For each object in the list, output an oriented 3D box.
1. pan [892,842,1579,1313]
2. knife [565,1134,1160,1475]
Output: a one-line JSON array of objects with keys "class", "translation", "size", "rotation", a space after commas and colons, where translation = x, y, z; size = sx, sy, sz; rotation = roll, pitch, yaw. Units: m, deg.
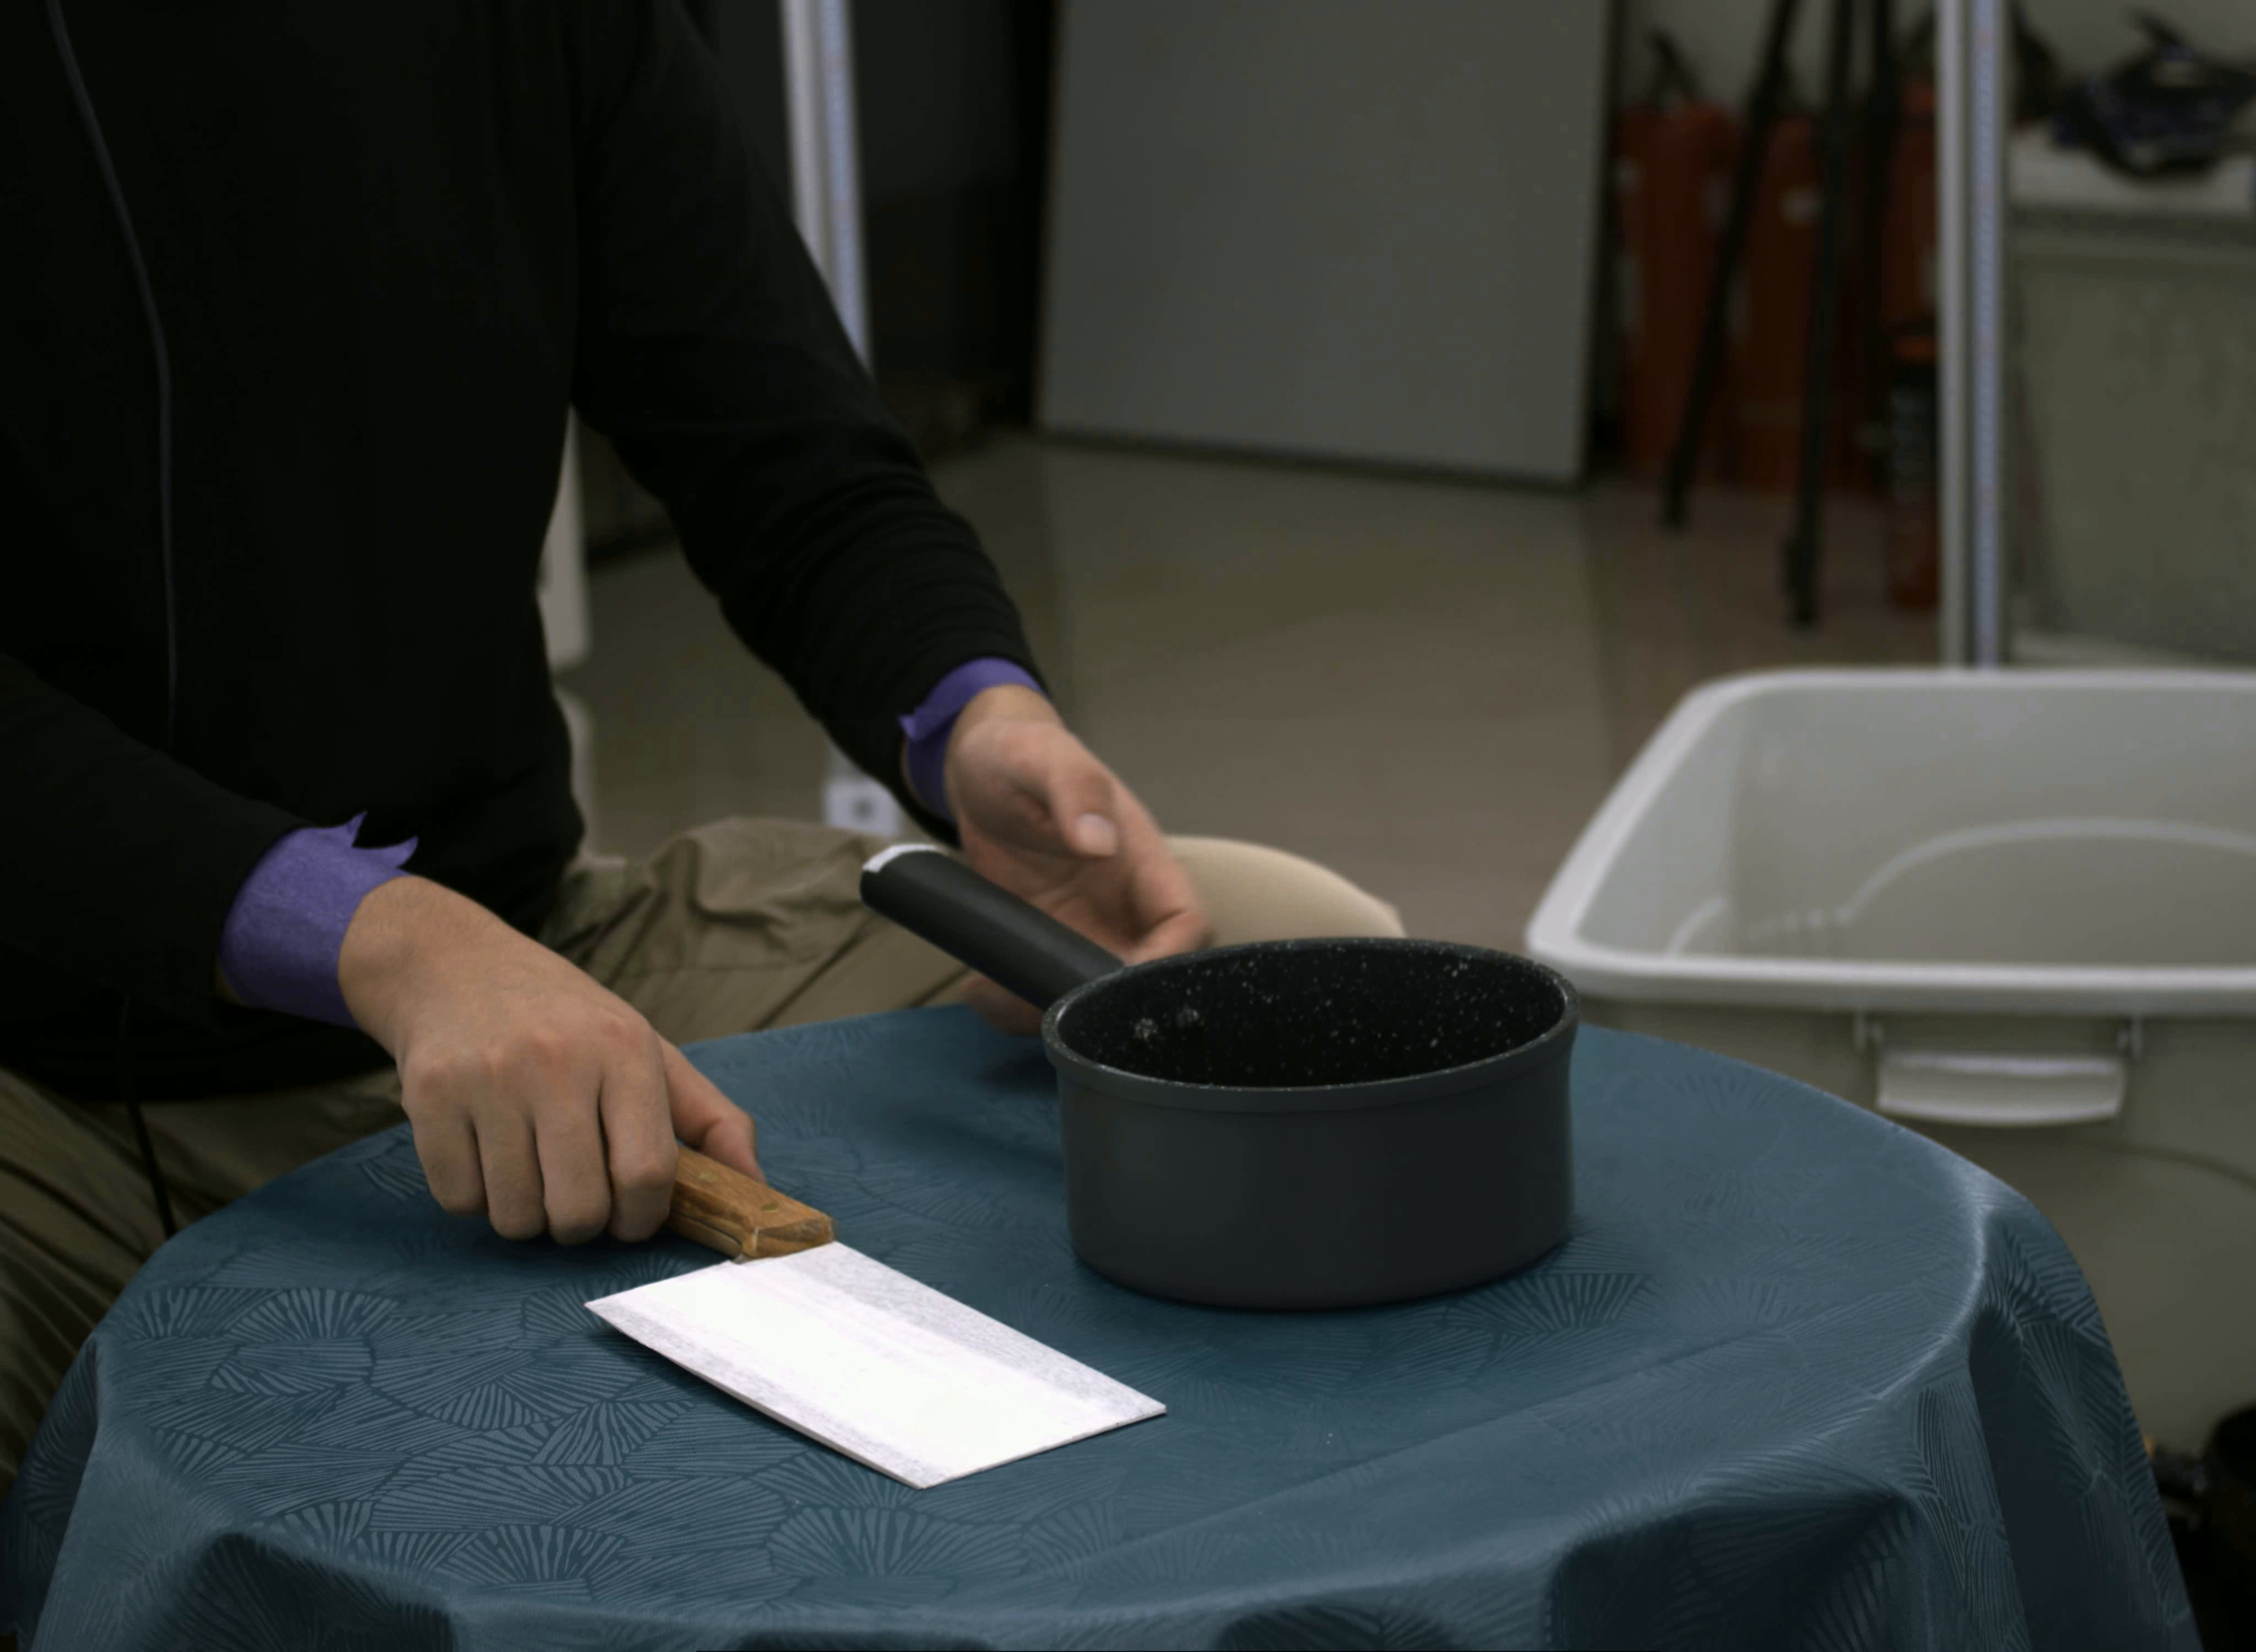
[{"class": "pan", "translation": [0.017, 0.078, 1.774], "size": [0.168, 0.087, 0.332], "rotation": [-12, 16, -30]}, {"class": "knife", "translation": [-0.109, 0.148, 1.667], "size": [0.091, 0.021, 0.309], "rotation": [-14, 19, -32]}]
